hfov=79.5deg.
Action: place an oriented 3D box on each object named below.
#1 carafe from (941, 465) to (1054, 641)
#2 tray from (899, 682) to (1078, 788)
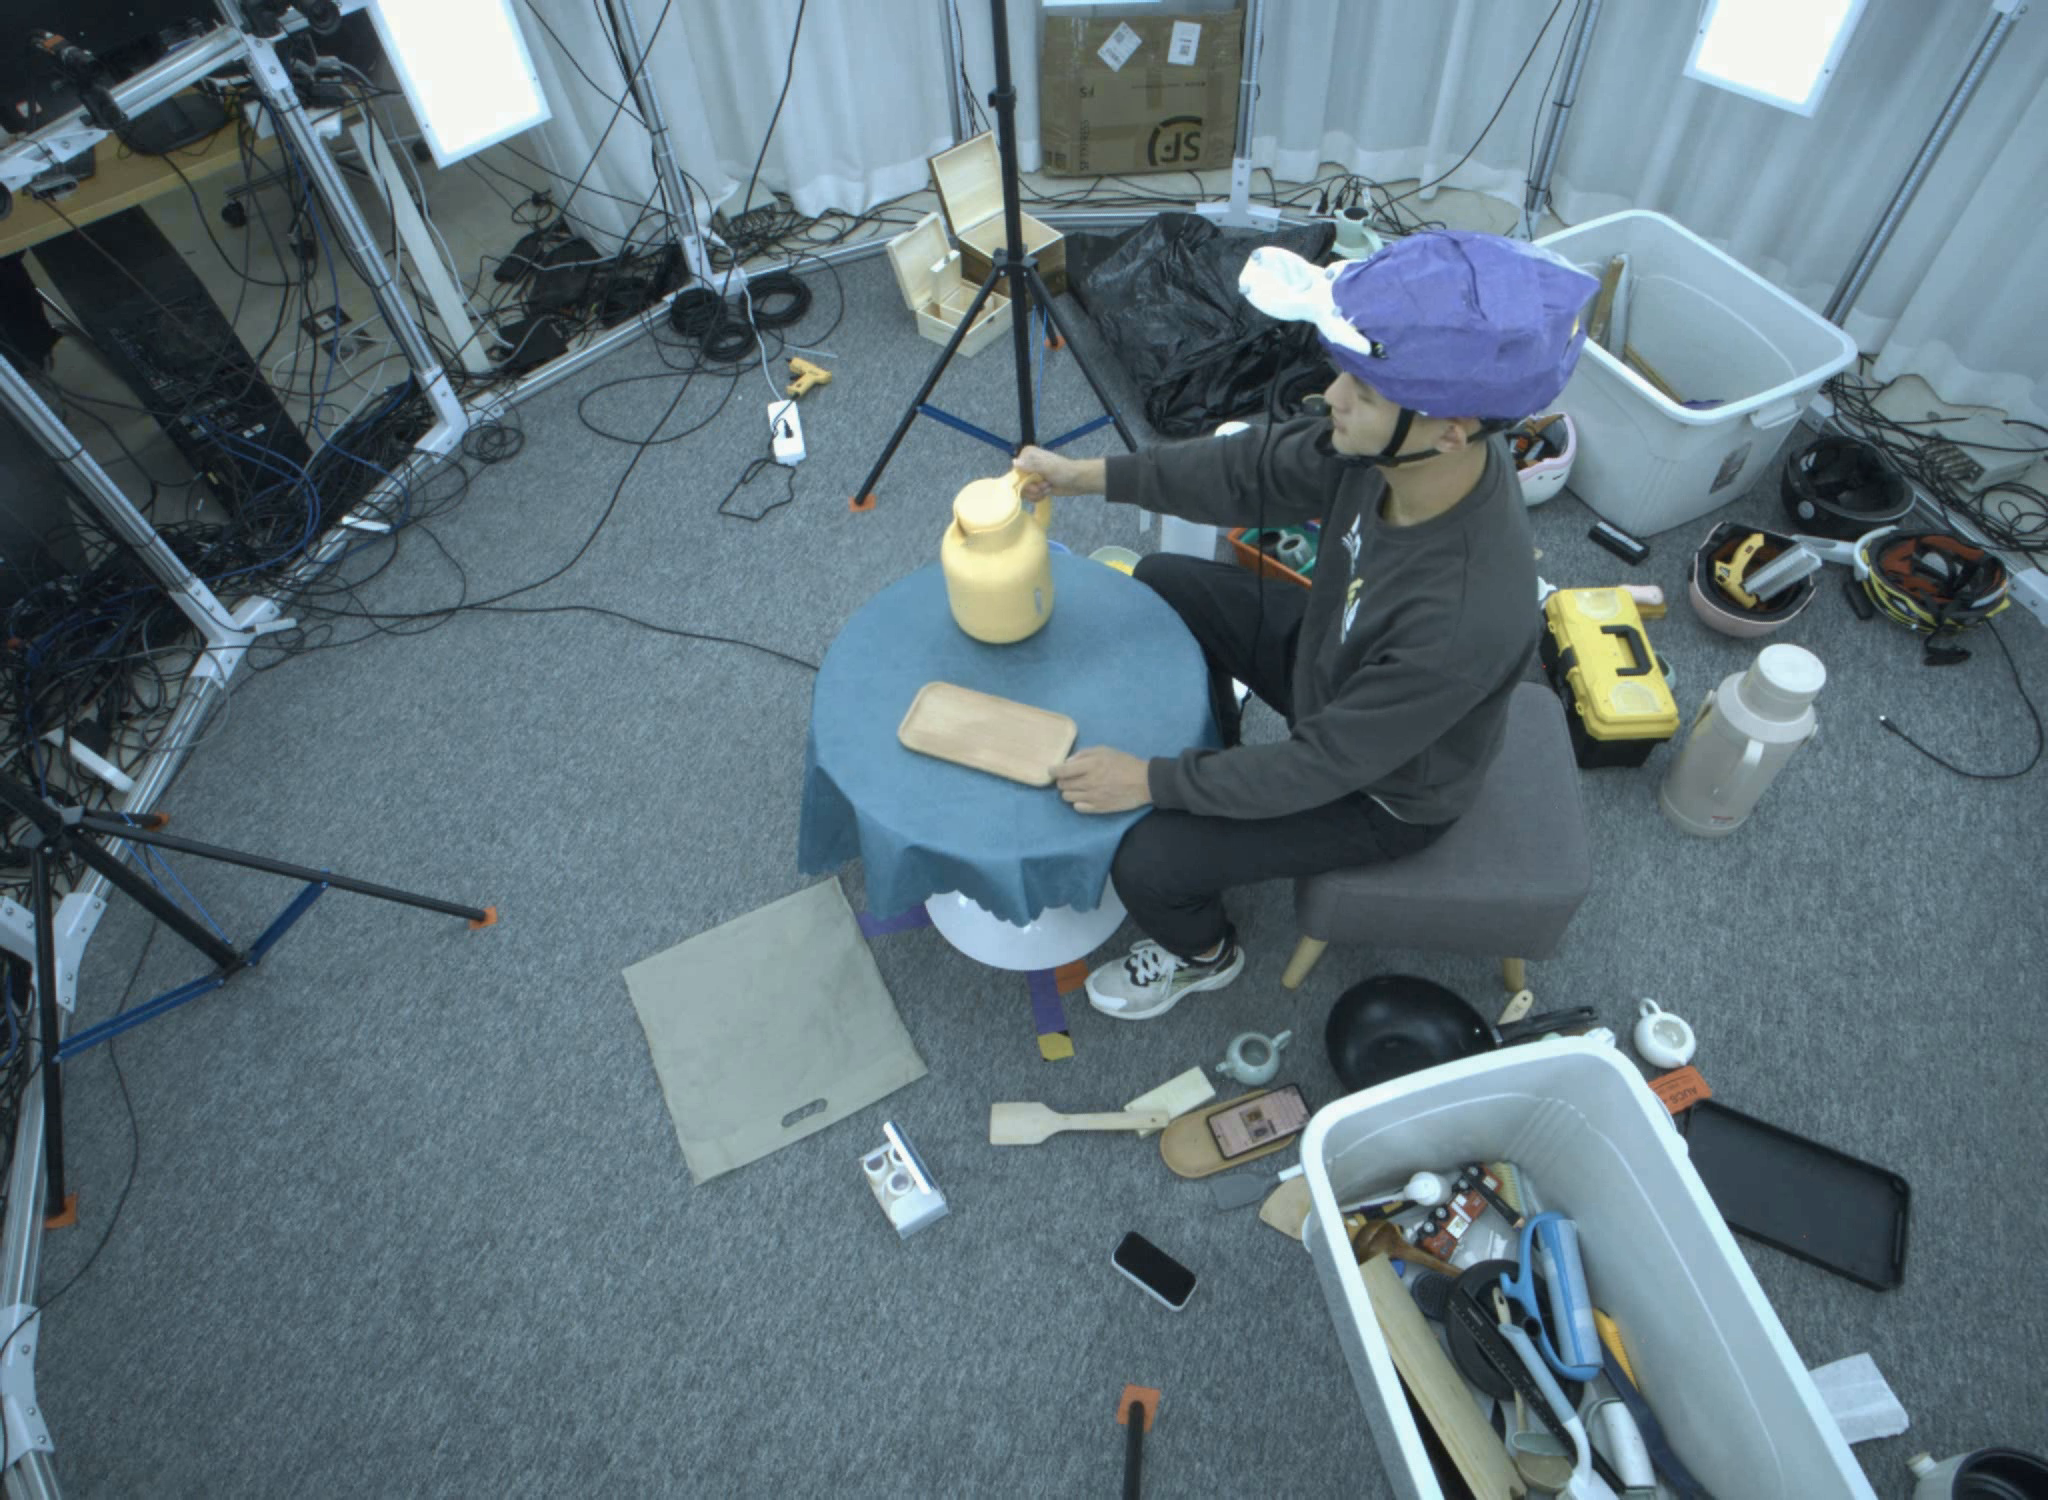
[{"bbox_3d":[-0.029,-0.302,1.833,0.161,0.263,0.203,36,69,21],"label":"carafe"},{"bbox_3d":[-0.052,-0.023,1.793,0.248,0.023,0.130,18,59,13],"label":"tray"}]
